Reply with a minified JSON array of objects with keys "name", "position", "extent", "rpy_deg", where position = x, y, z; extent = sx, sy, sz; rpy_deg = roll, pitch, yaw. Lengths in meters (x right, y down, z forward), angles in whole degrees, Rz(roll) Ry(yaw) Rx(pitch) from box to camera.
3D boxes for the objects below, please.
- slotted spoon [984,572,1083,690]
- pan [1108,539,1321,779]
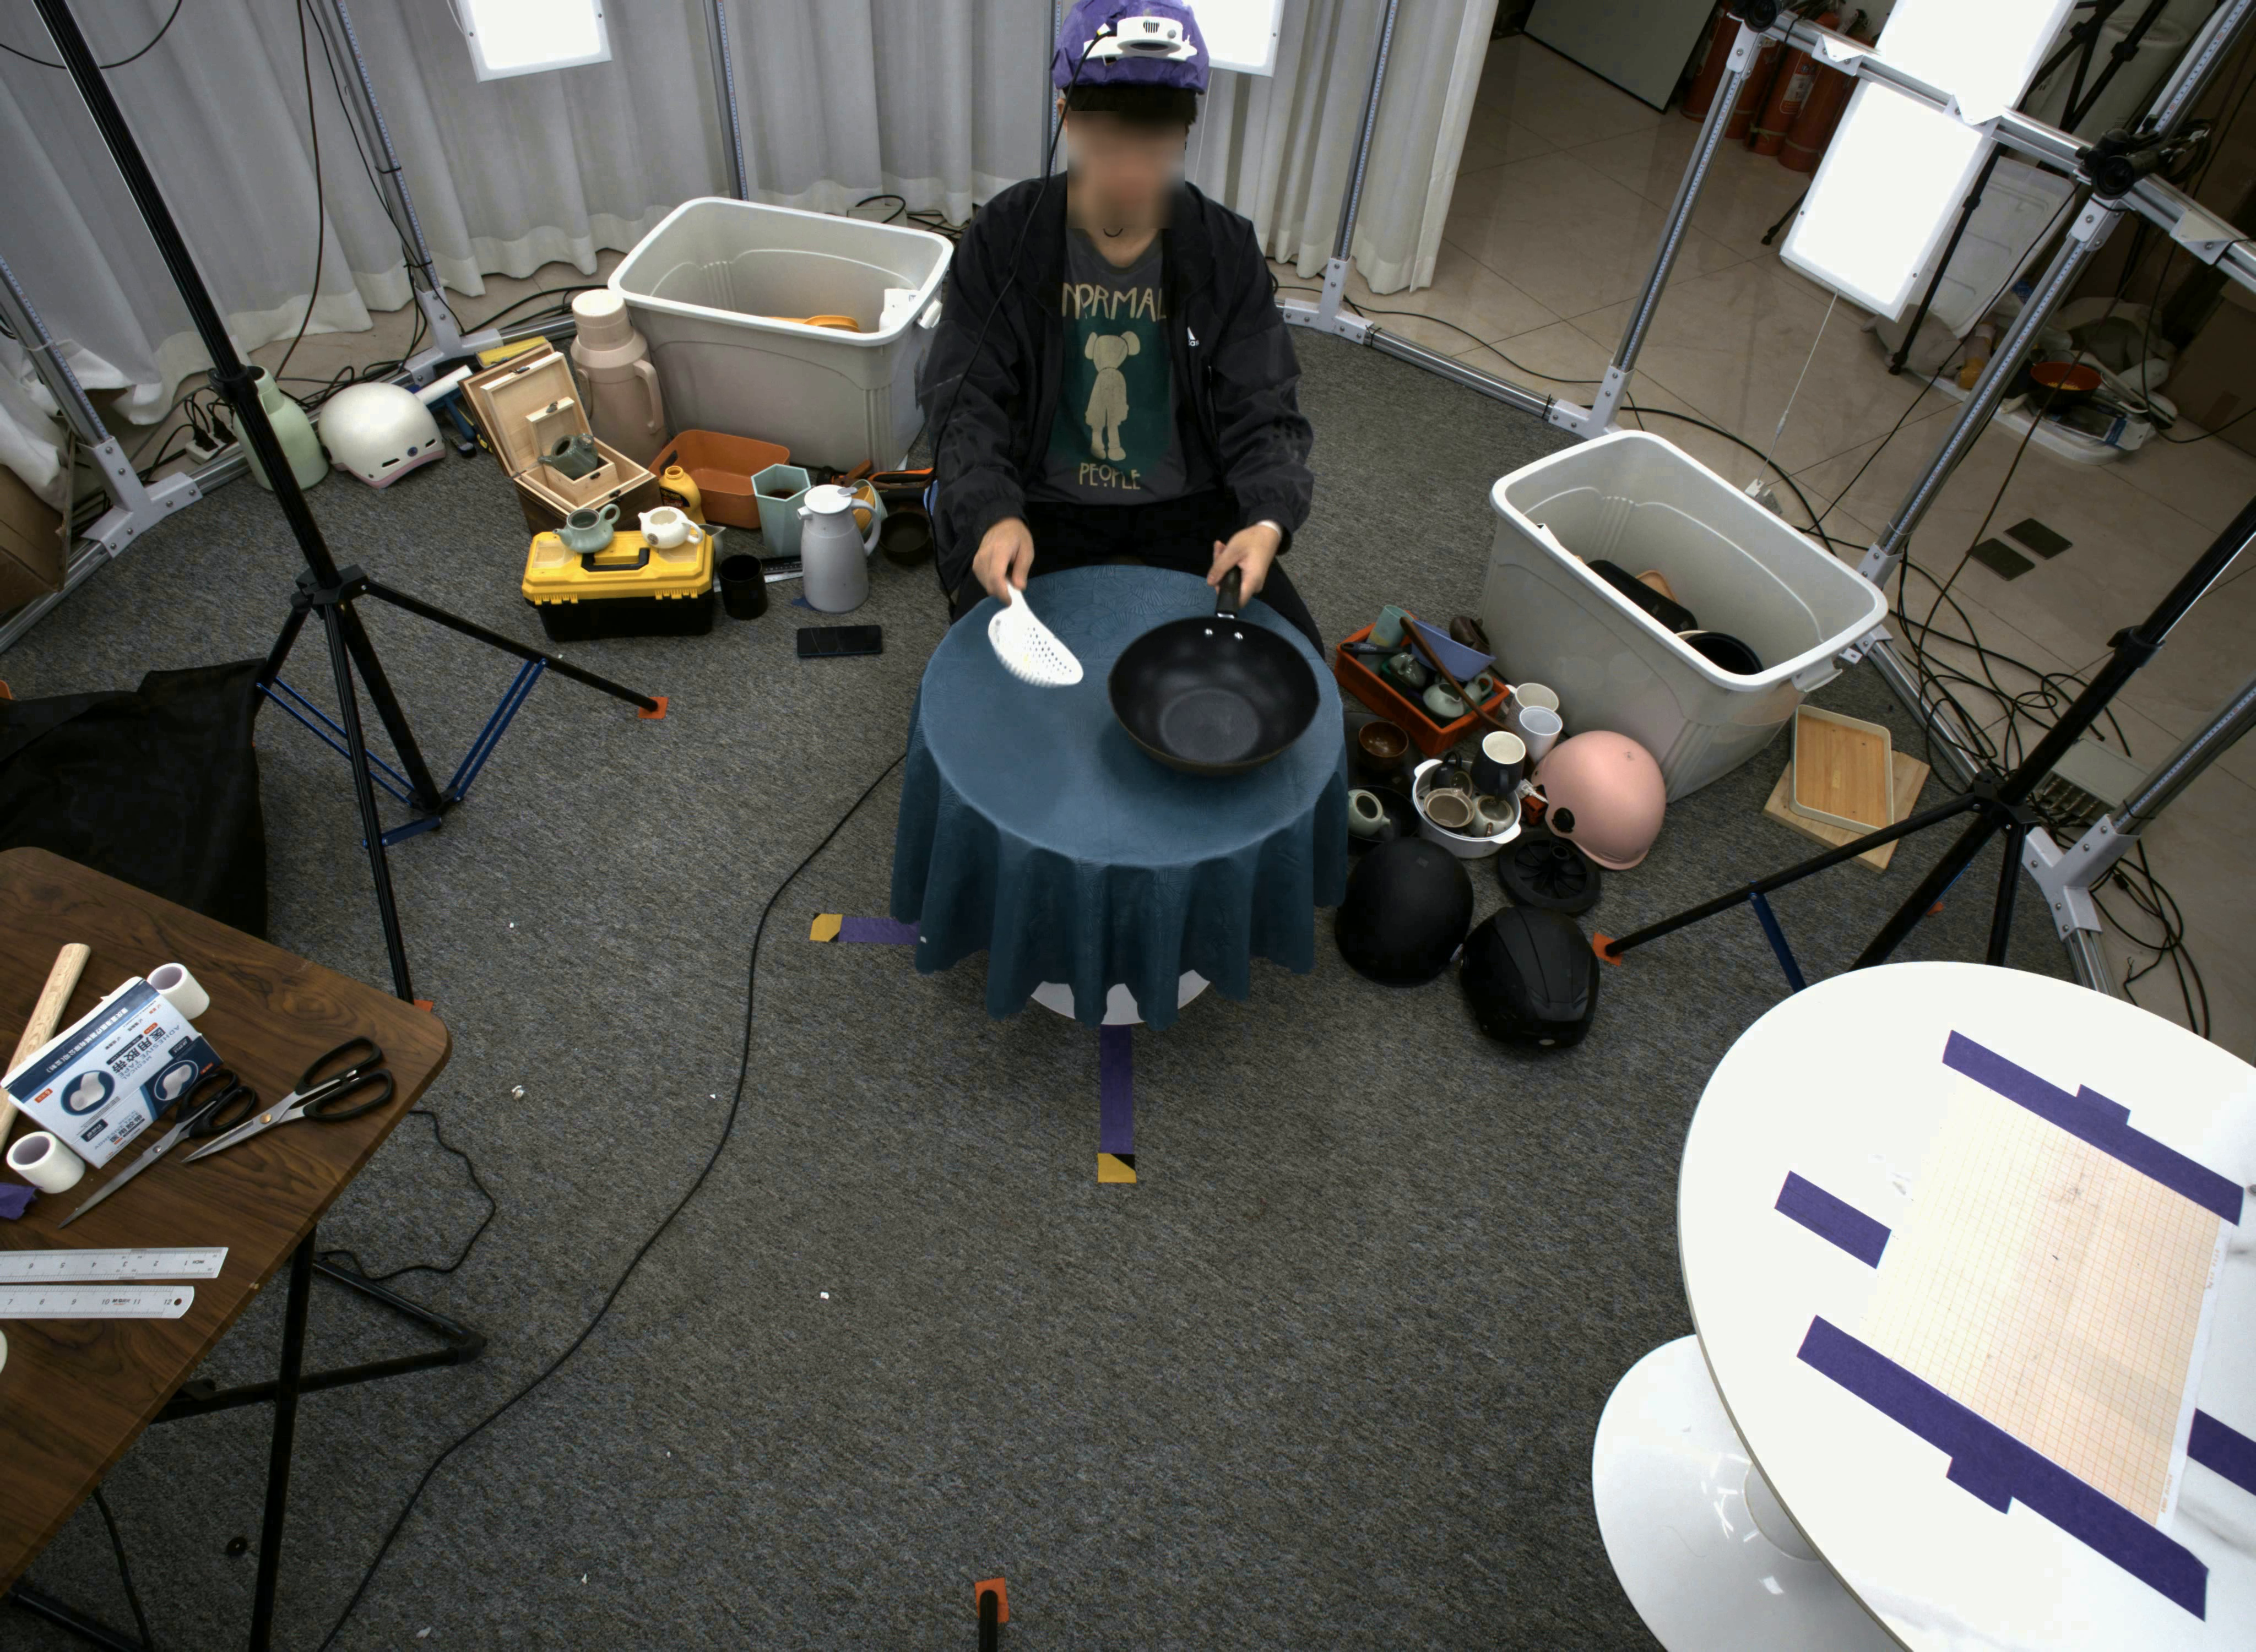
[{"name":"slotted spoon","position":[-0.153,-0.277,1.760],"extent":[0.135,0.049,0.356],"rpy_deg":[14,33,-24]},{"name":"pan","position":[0.130,-0.231,1.811],"extent":[0.288,0.085,0.474],"rpy_deg":[8,50,5]}]
